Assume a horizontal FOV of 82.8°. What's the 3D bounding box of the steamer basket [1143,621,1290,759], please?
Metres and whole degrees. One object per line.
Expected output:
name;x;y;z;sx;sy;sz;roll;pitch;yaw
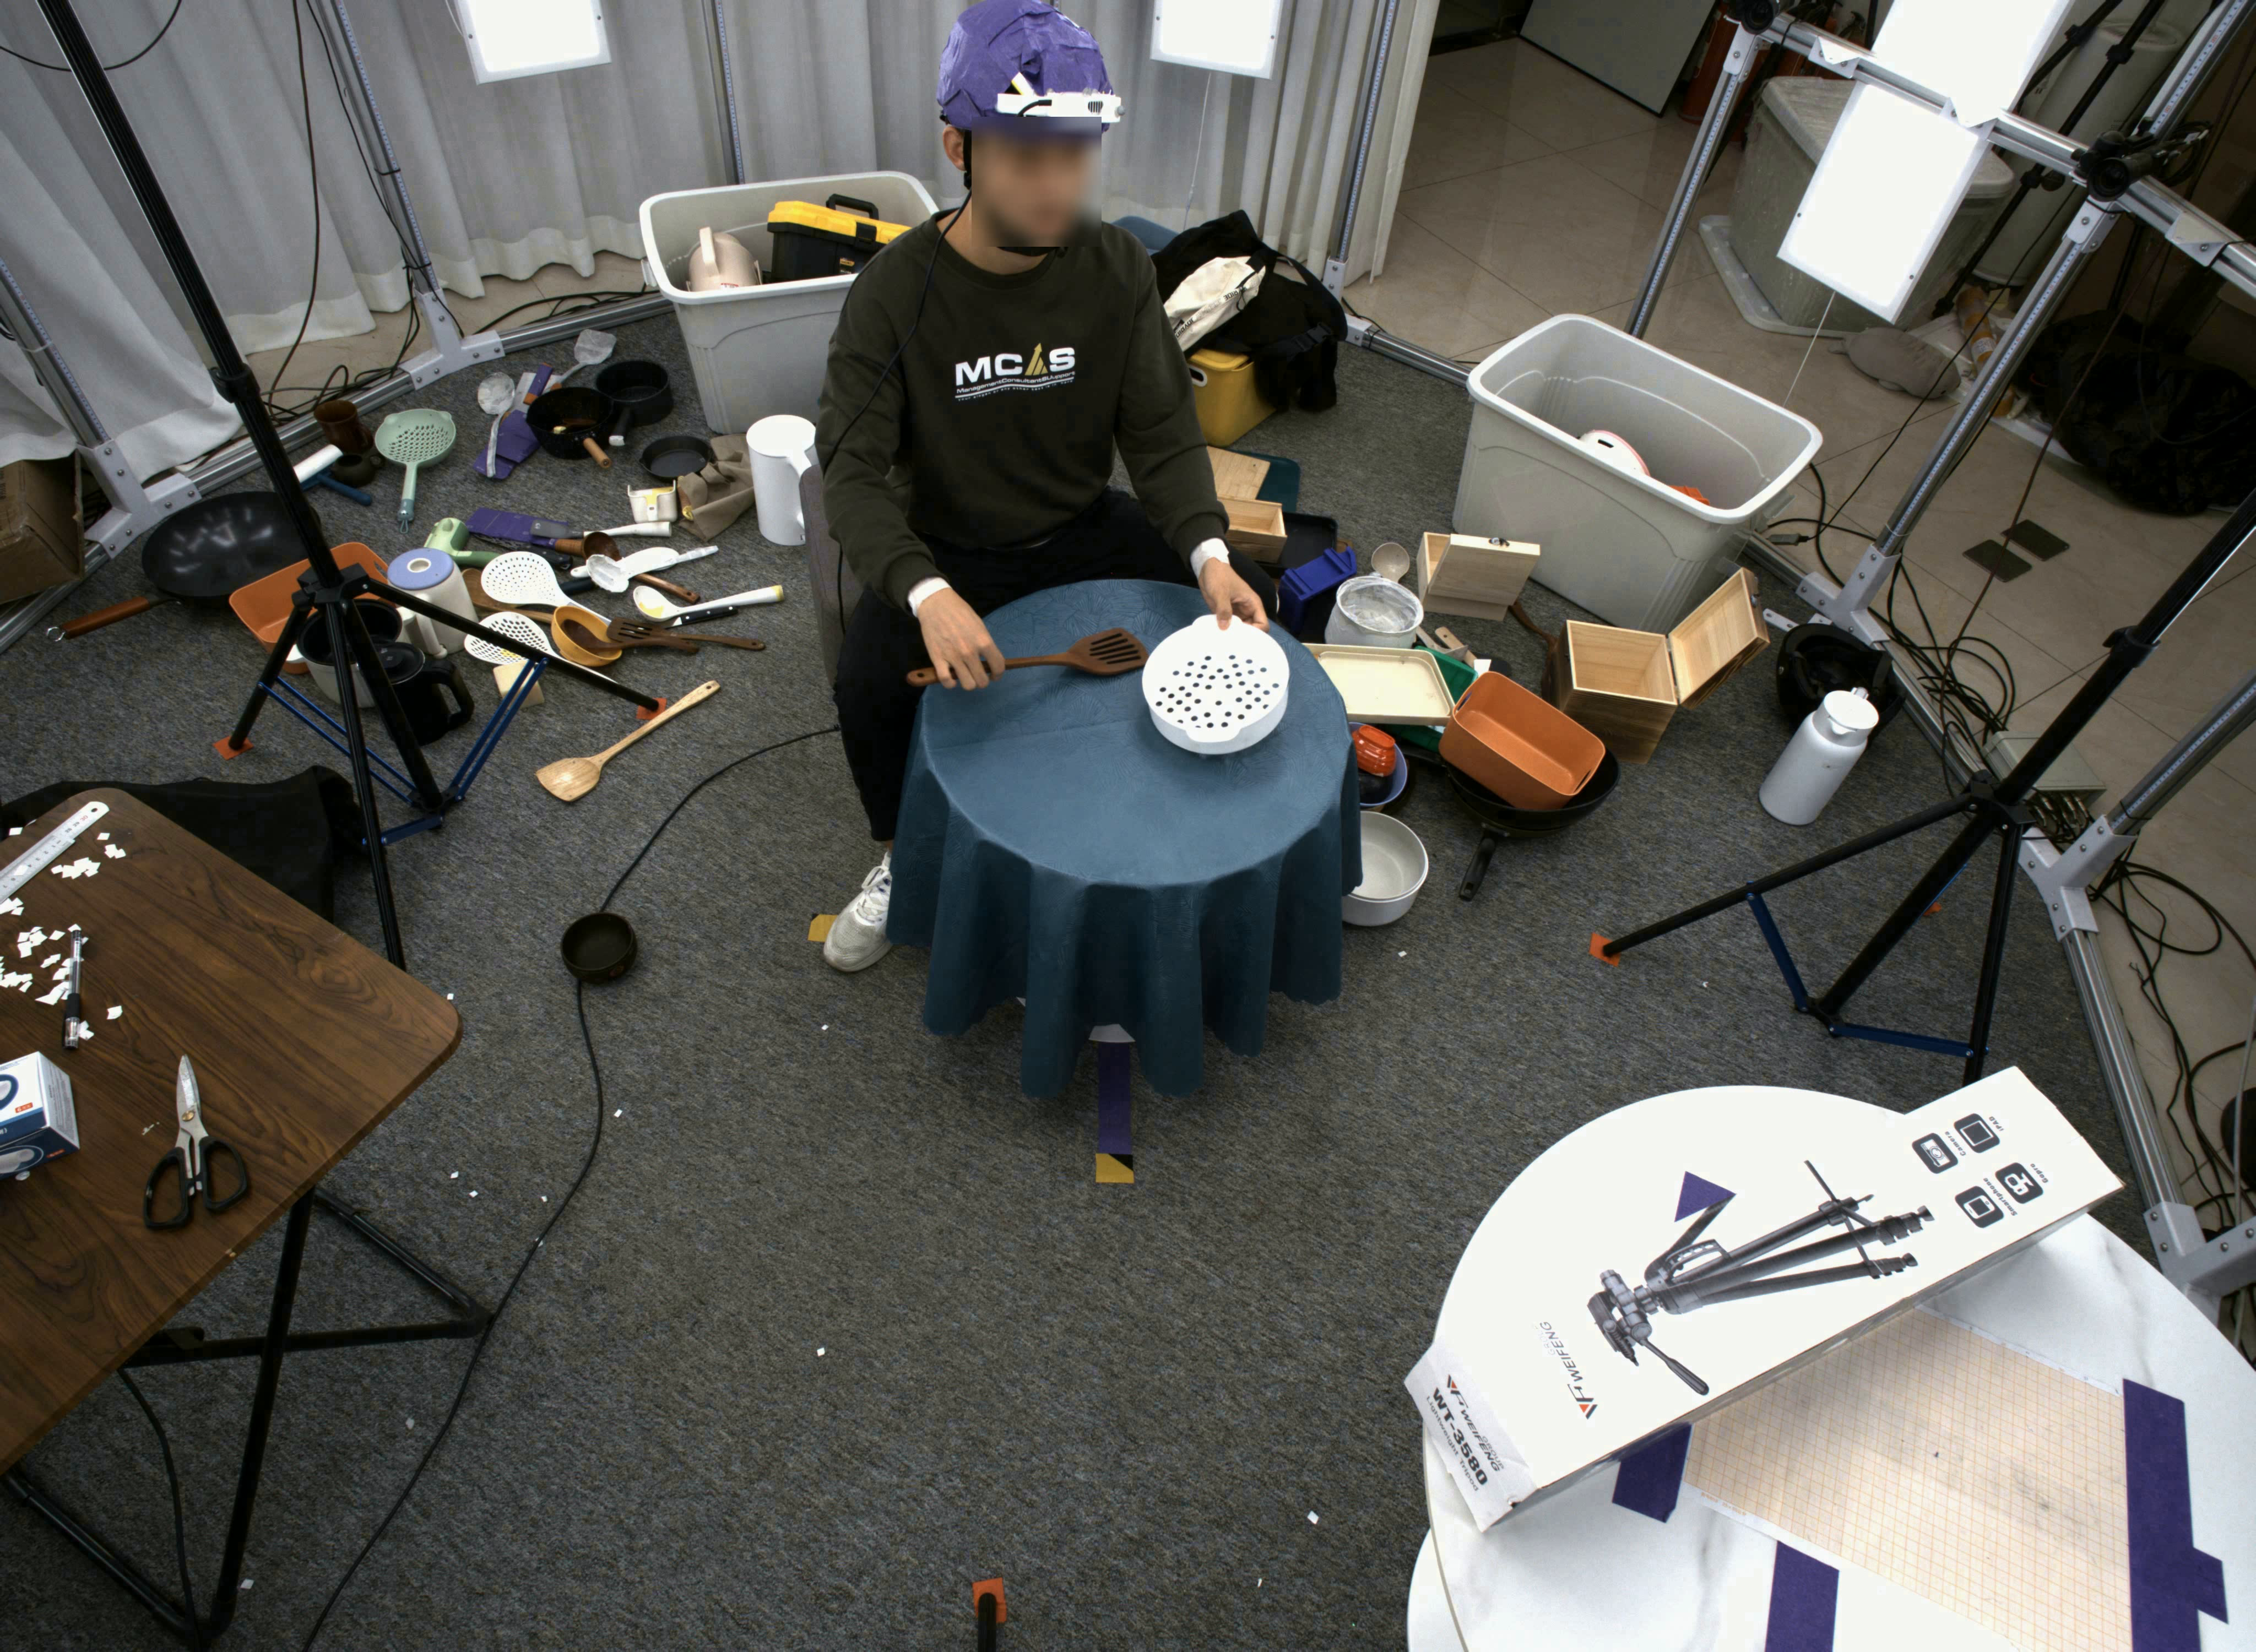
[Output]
steamer basket;0.123;-0.184;1.778;0.202;0.067;0.236;0;51;8

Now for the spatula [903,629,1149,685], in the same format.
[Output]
spatula;-0.138;-0.225;1.788;0.385;0.023;0.087;-13;53;-36
